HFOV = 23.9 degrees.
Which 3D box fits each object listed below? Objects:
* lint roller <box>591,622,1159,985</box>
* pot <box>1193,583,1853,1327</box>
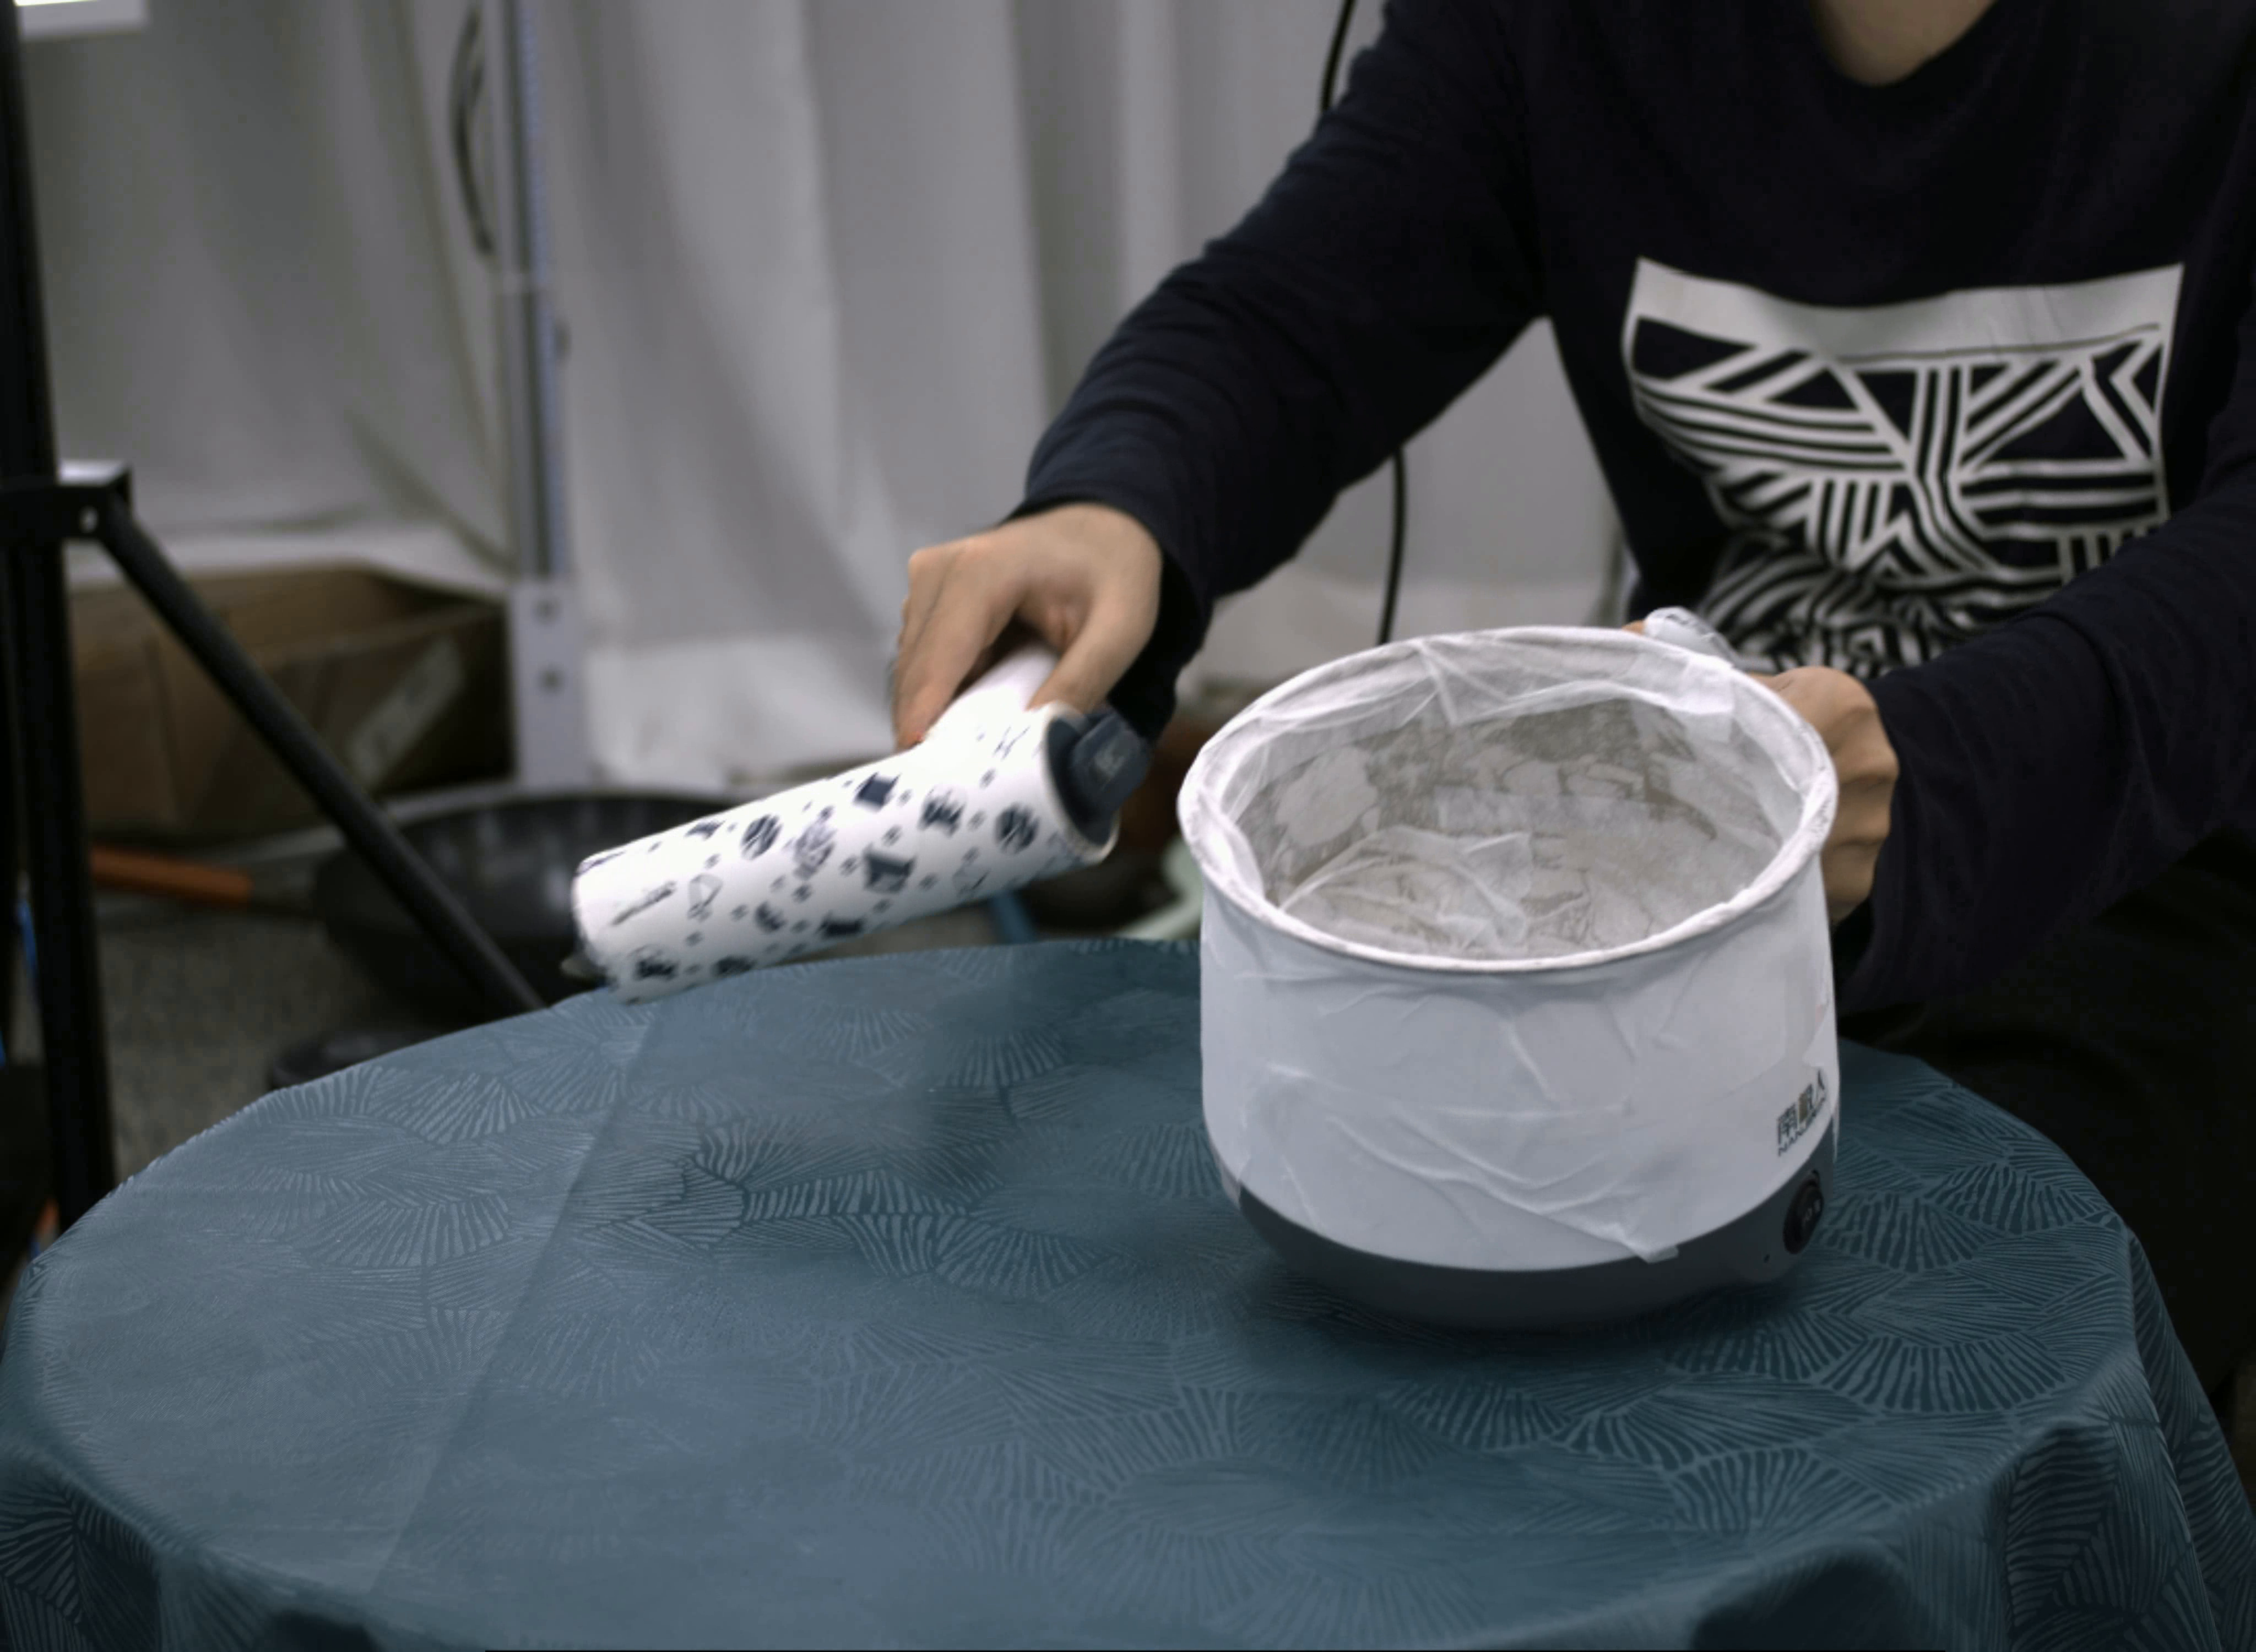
[{"bbox_3d":[-0.052,-0.028,1.668,0.178,0.050,0.245,-20,11,22],"label":"lint roller"},{"bbox_3d":[0.121,0.026,1.470,0.182,0.136,0.231,17,40,27],"label":"pot"}]
